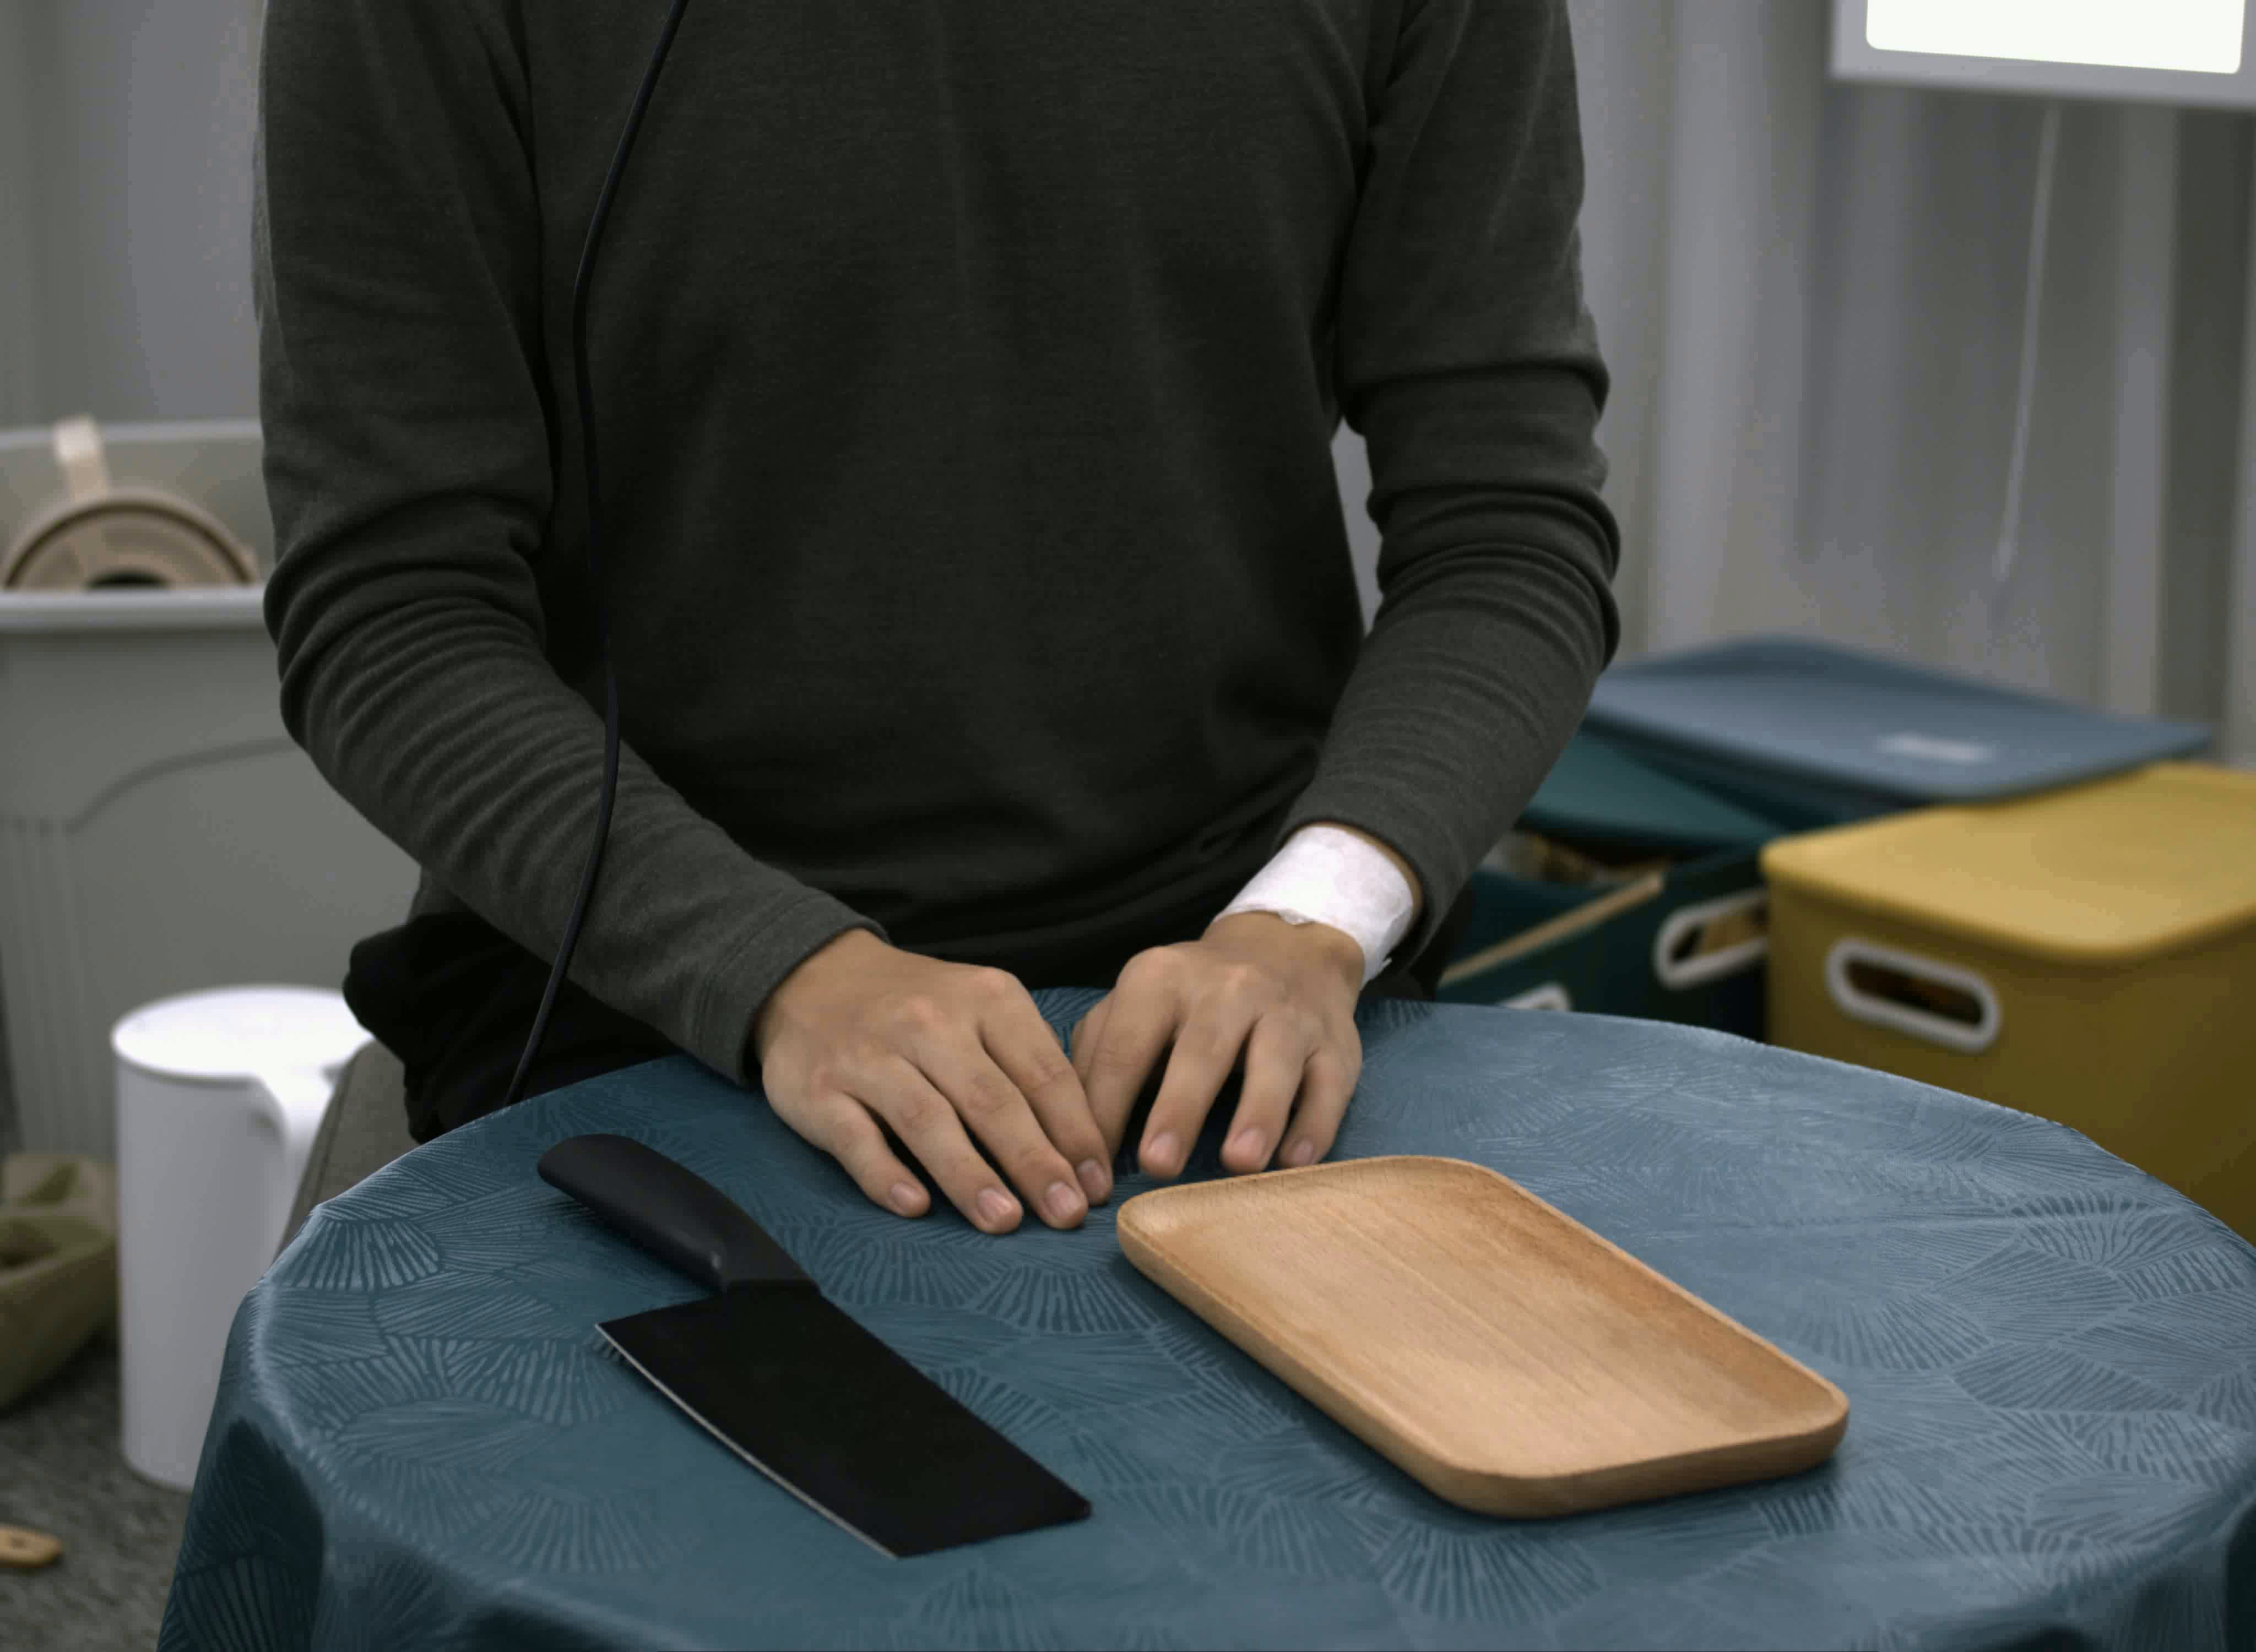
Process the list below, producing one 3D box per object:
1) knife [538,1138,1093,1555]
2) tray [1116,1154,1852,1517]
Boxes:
[{"bbox_3d":[-0.105,0.144,1.483,0.081,0.021,0.298,-8,19,-24],"label":"knife"},{"bbox_3d":[0.096,0.141,1.494,0.131,0.023,0.248,-4,15,-24],"label":"tray"}]
